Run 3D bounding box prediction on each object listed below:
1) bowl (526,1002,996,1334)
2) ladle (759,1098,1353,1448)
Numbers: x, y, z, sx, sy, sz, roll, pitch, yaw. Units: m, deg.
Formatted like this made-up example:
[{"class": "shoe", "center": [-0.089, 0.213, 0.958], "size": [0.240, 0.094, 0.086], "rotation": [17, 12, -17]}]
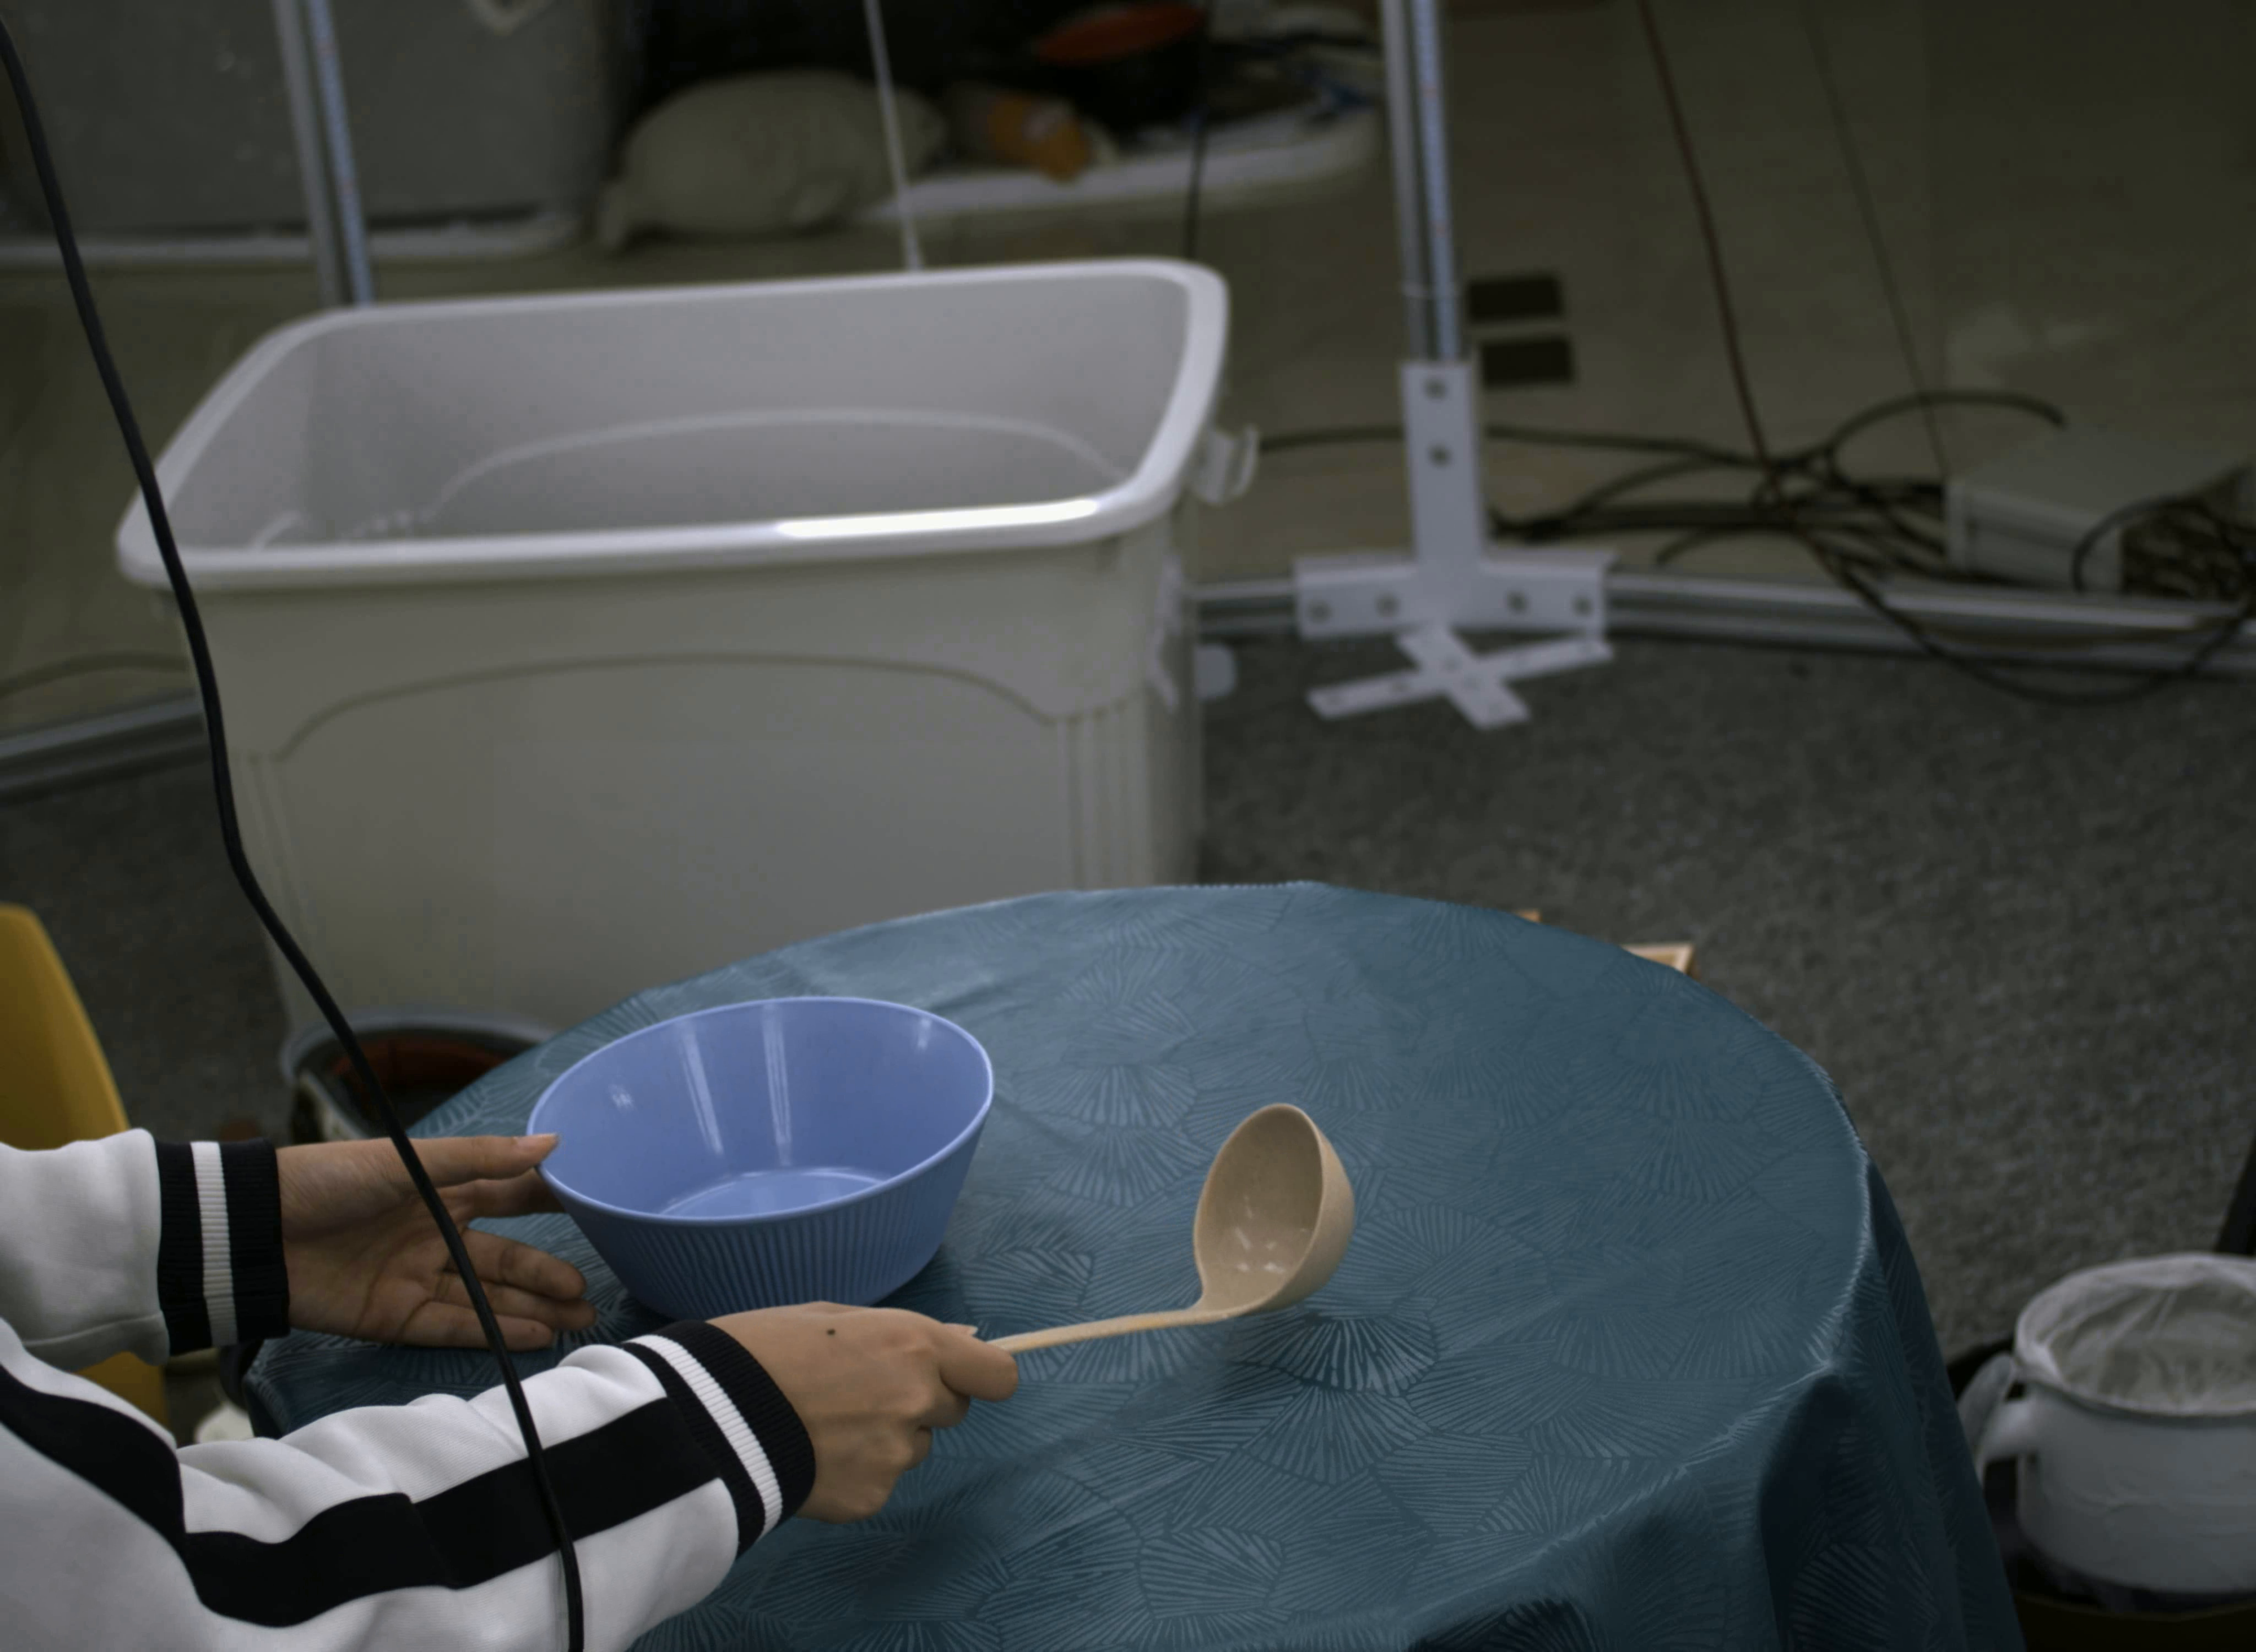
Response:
[{"class": "bowl", "center": [-0.132, 0.133, 2.110], "size": [0.176, 0.071, 0.173], "rotation": [-6, 24, 3]}, {"class": "ladle", "center": [-0.029, 0.151, 1.964], "size": [0.253, 0.073, 0.072], "rotation": [-12, 8, -38]}]
